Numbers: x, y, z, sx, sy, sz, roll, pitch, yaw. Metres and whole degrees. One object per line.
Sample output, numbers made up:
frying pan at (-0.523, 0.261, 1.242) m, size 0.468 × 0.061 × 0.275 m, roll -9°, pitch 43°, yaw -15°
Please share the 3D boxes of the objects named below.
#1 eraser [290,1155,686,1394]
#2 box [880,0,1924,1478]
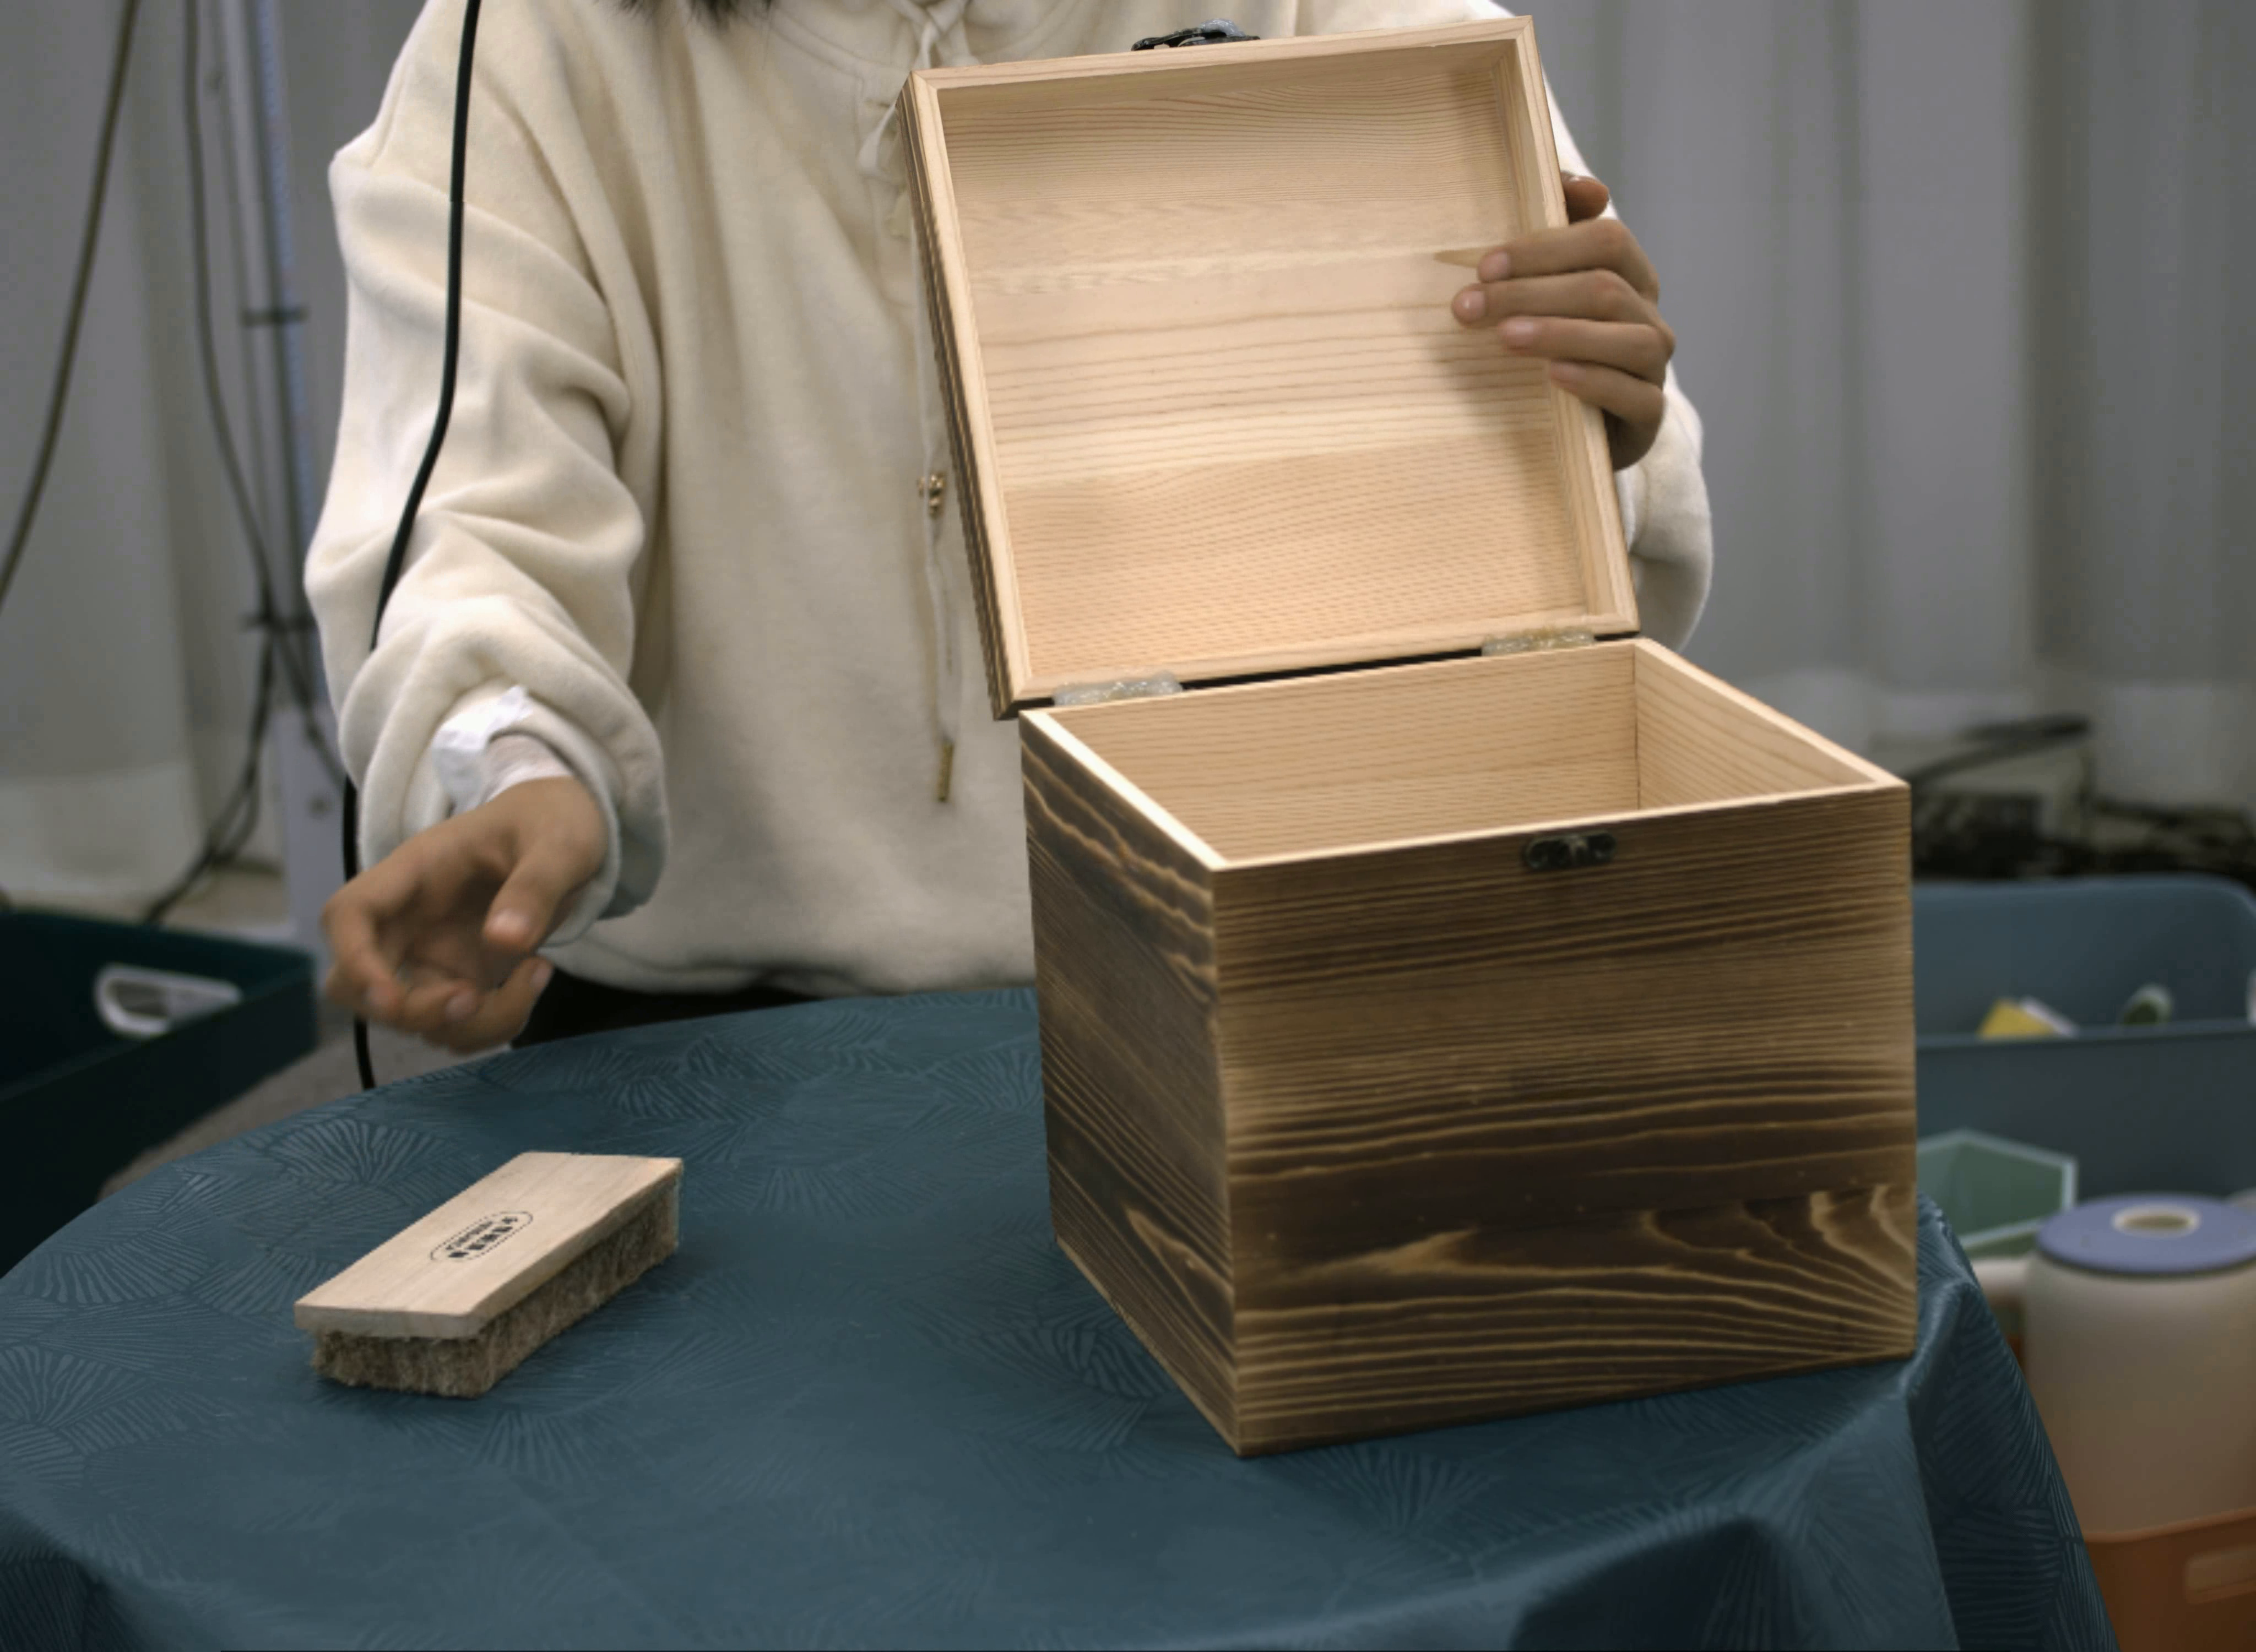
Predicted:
eraser at (-0.188, 0.132, 1.629) m, size 0.057 × 0.029 × 0.139 m, roll 1°, pitch 15°, yaw 24°
box at (0.074, -0.049, 1.609) m, size 0.208 × 0.374 × 0.325 m, roll -8°, pitch 15°, yaw -15°
